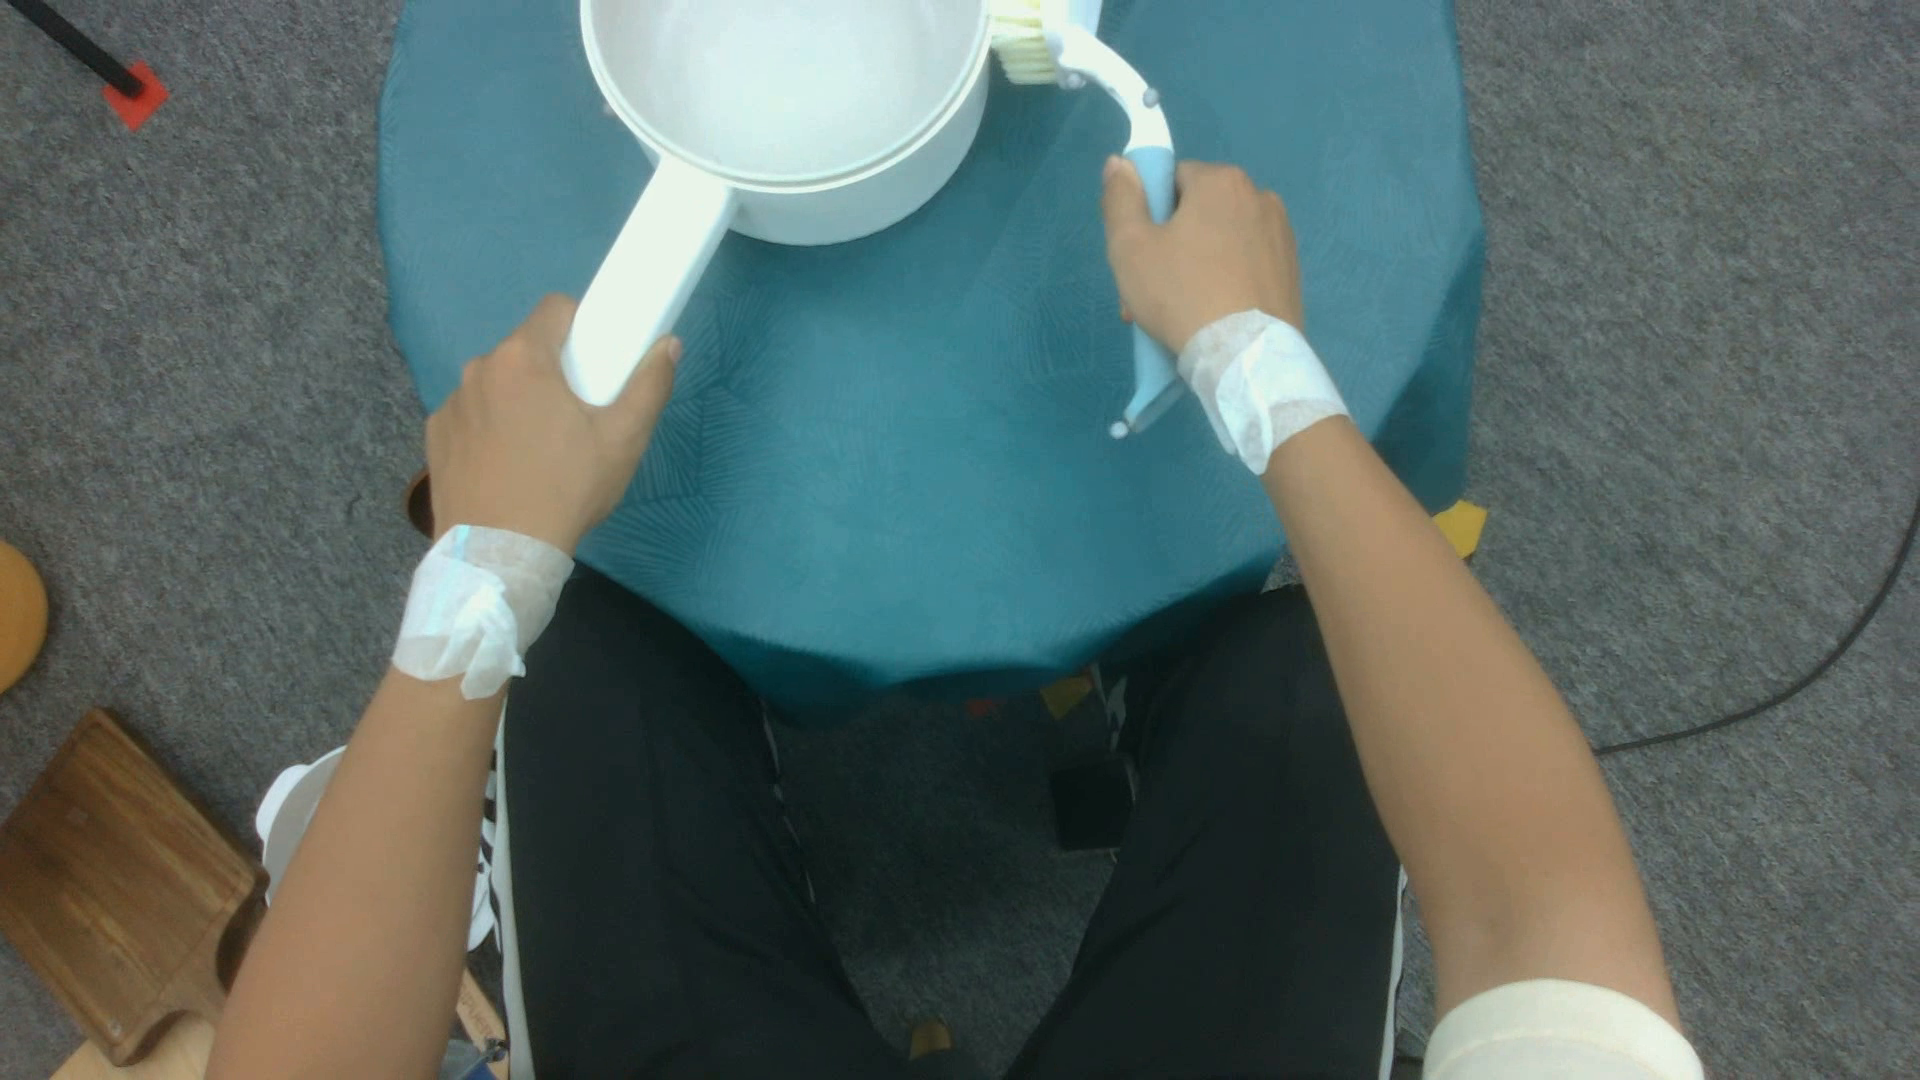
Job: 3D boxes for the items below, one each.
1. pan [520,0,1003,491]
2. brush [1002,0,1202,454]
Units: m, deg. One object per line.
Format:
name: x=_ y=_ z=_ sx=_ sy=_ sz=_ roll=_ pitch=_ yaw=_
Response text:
pan: x=-0.111 y=-0.182 z=0.718 sx=0.201 sy=0.102 sz=0.355 roll=25 pitch=81 yaw=6
brush: x=0.057 y=-0.195 z=0.681 sx=0.083 sy=0.084 sz=0.326 roll=11 pitch=70 yaw=-35
